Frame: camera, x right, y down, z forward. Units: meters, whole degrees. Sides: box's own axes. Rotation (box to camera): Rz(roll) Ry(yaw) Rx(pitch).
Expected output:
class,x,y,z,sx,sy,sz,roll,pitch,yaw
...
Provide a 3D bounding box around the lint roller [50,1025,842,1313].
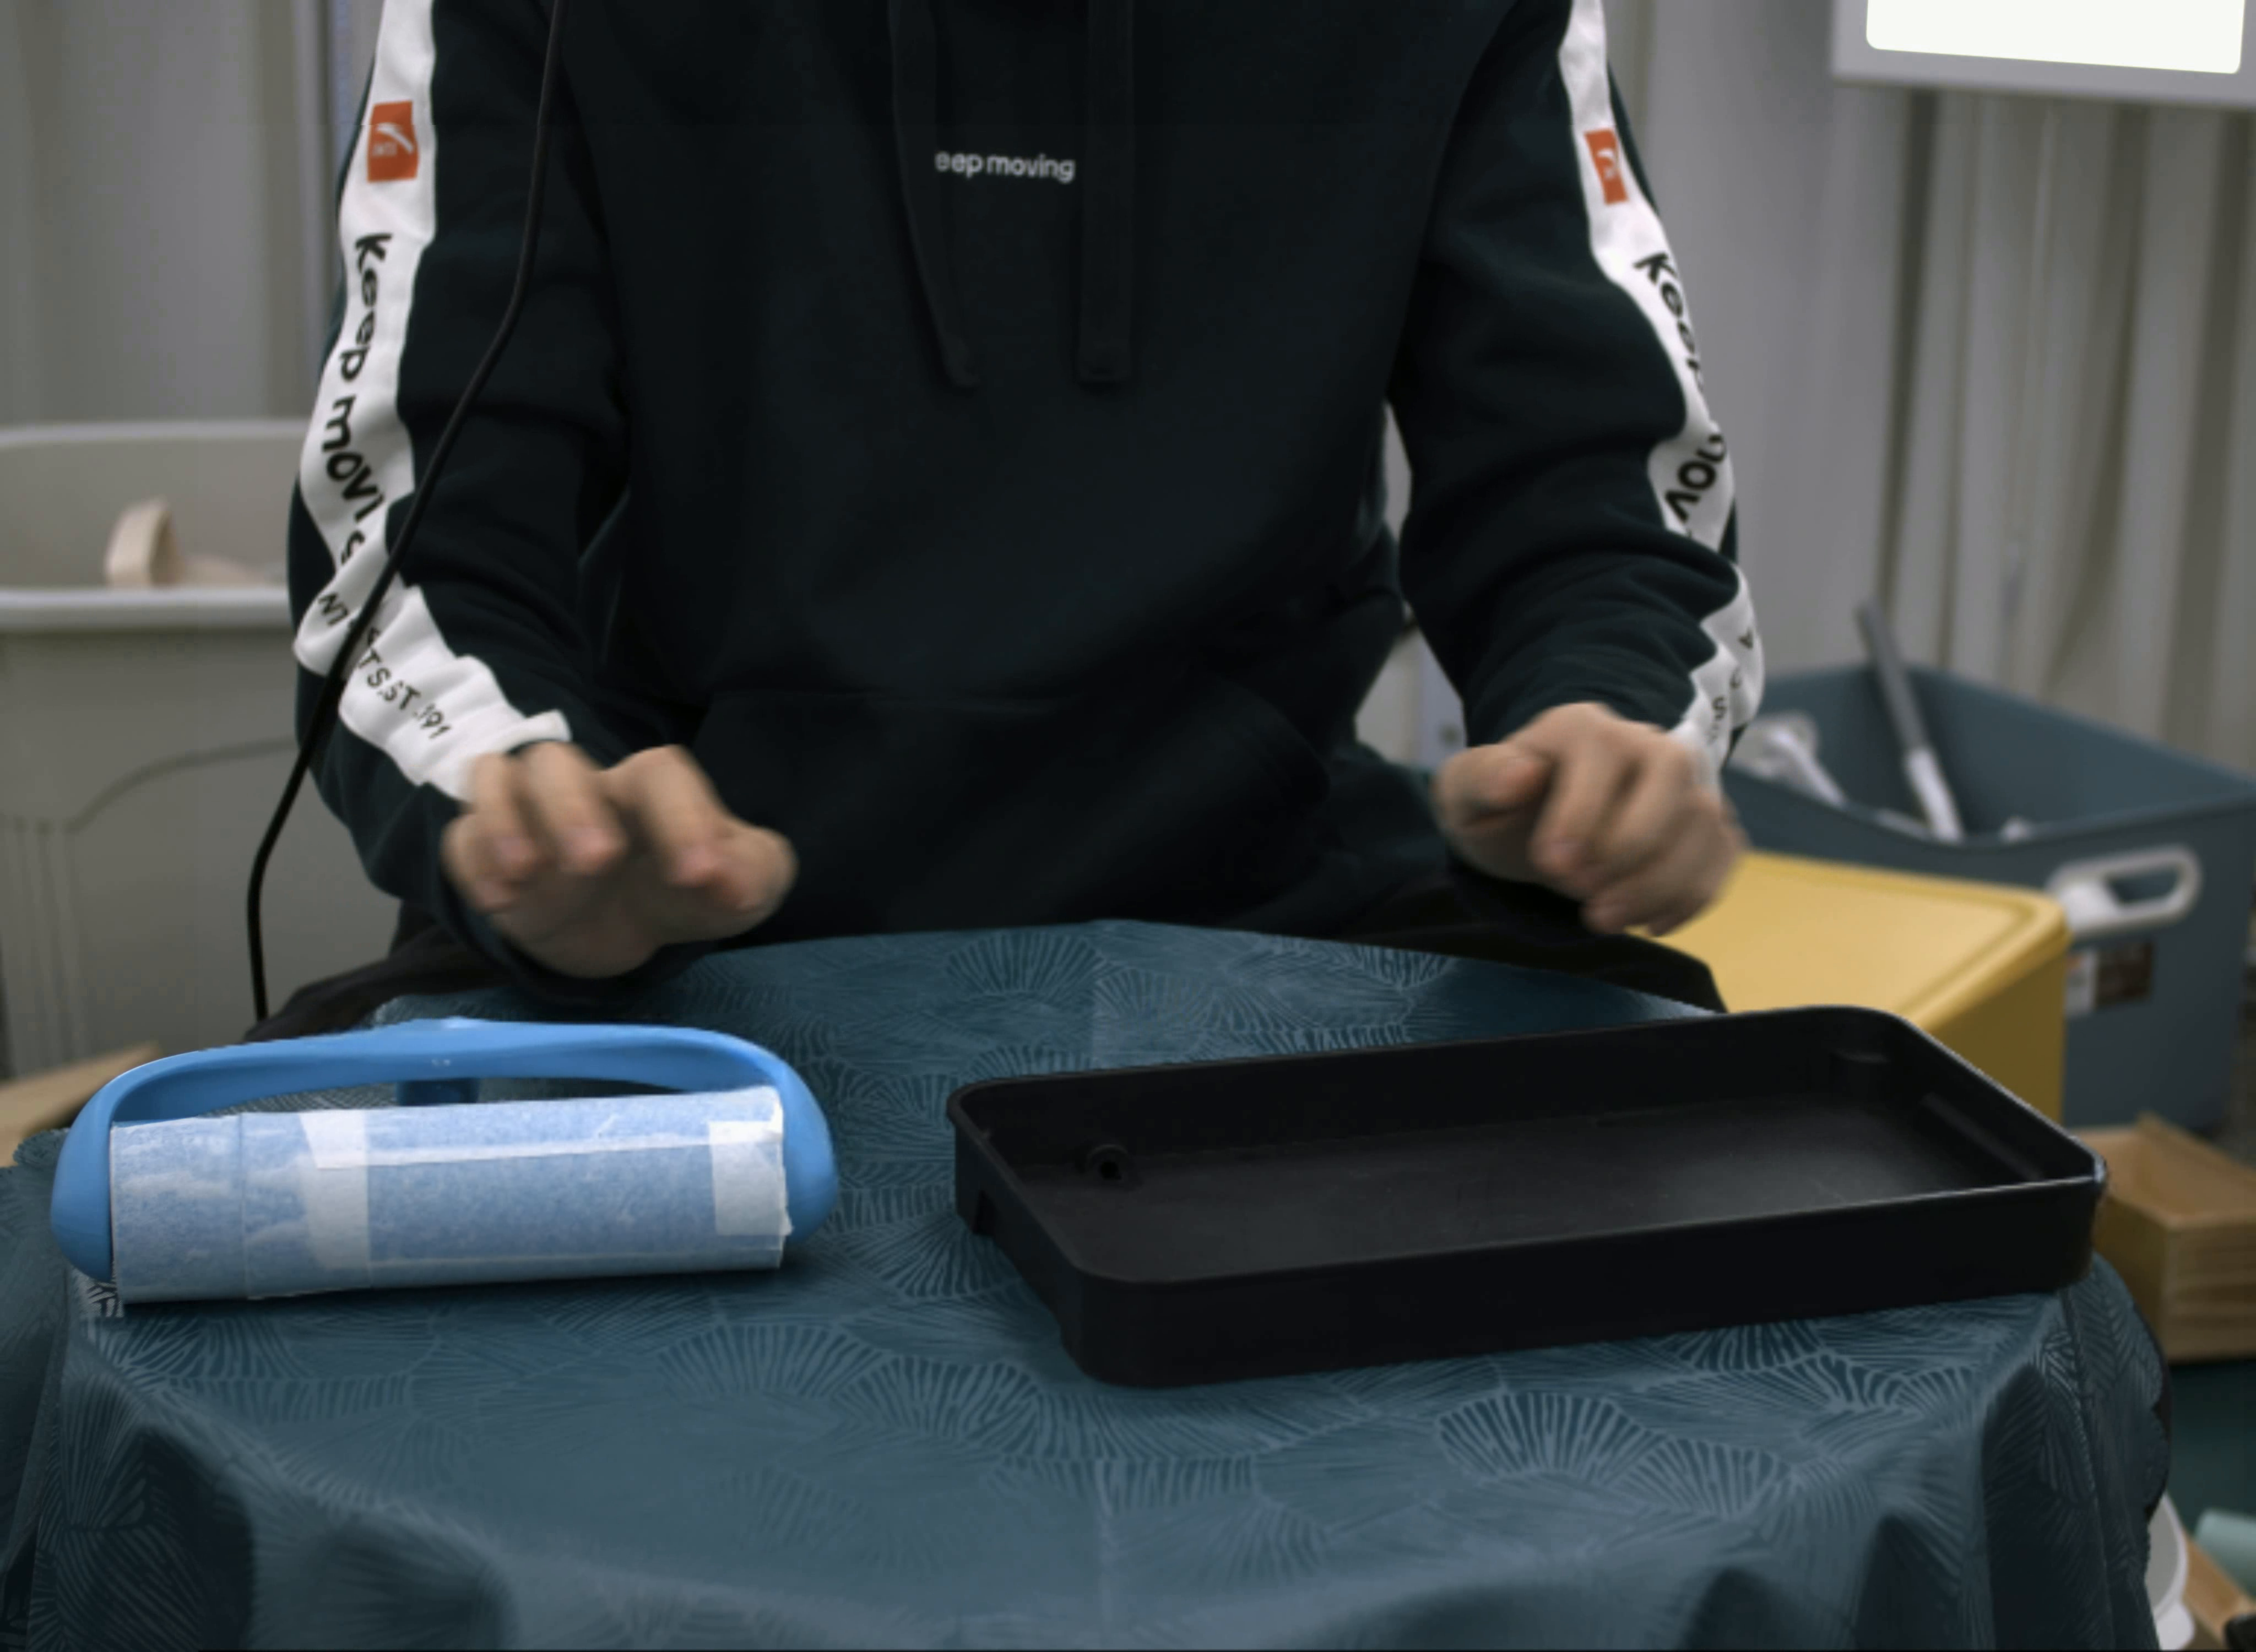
class,x,y,z,sx,sy,sz,roll,pitch,yaw
lint roller,-0.209,0.090,1.586,0.229,0.068,0.178,-5,17,-11

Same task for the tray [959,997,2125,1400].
class,x,y,z,sx,sy,sz,roll,pitch,yaw
tray,0.121,0.107,1.578,0.318,0.037,0.182,-6,16,-17
